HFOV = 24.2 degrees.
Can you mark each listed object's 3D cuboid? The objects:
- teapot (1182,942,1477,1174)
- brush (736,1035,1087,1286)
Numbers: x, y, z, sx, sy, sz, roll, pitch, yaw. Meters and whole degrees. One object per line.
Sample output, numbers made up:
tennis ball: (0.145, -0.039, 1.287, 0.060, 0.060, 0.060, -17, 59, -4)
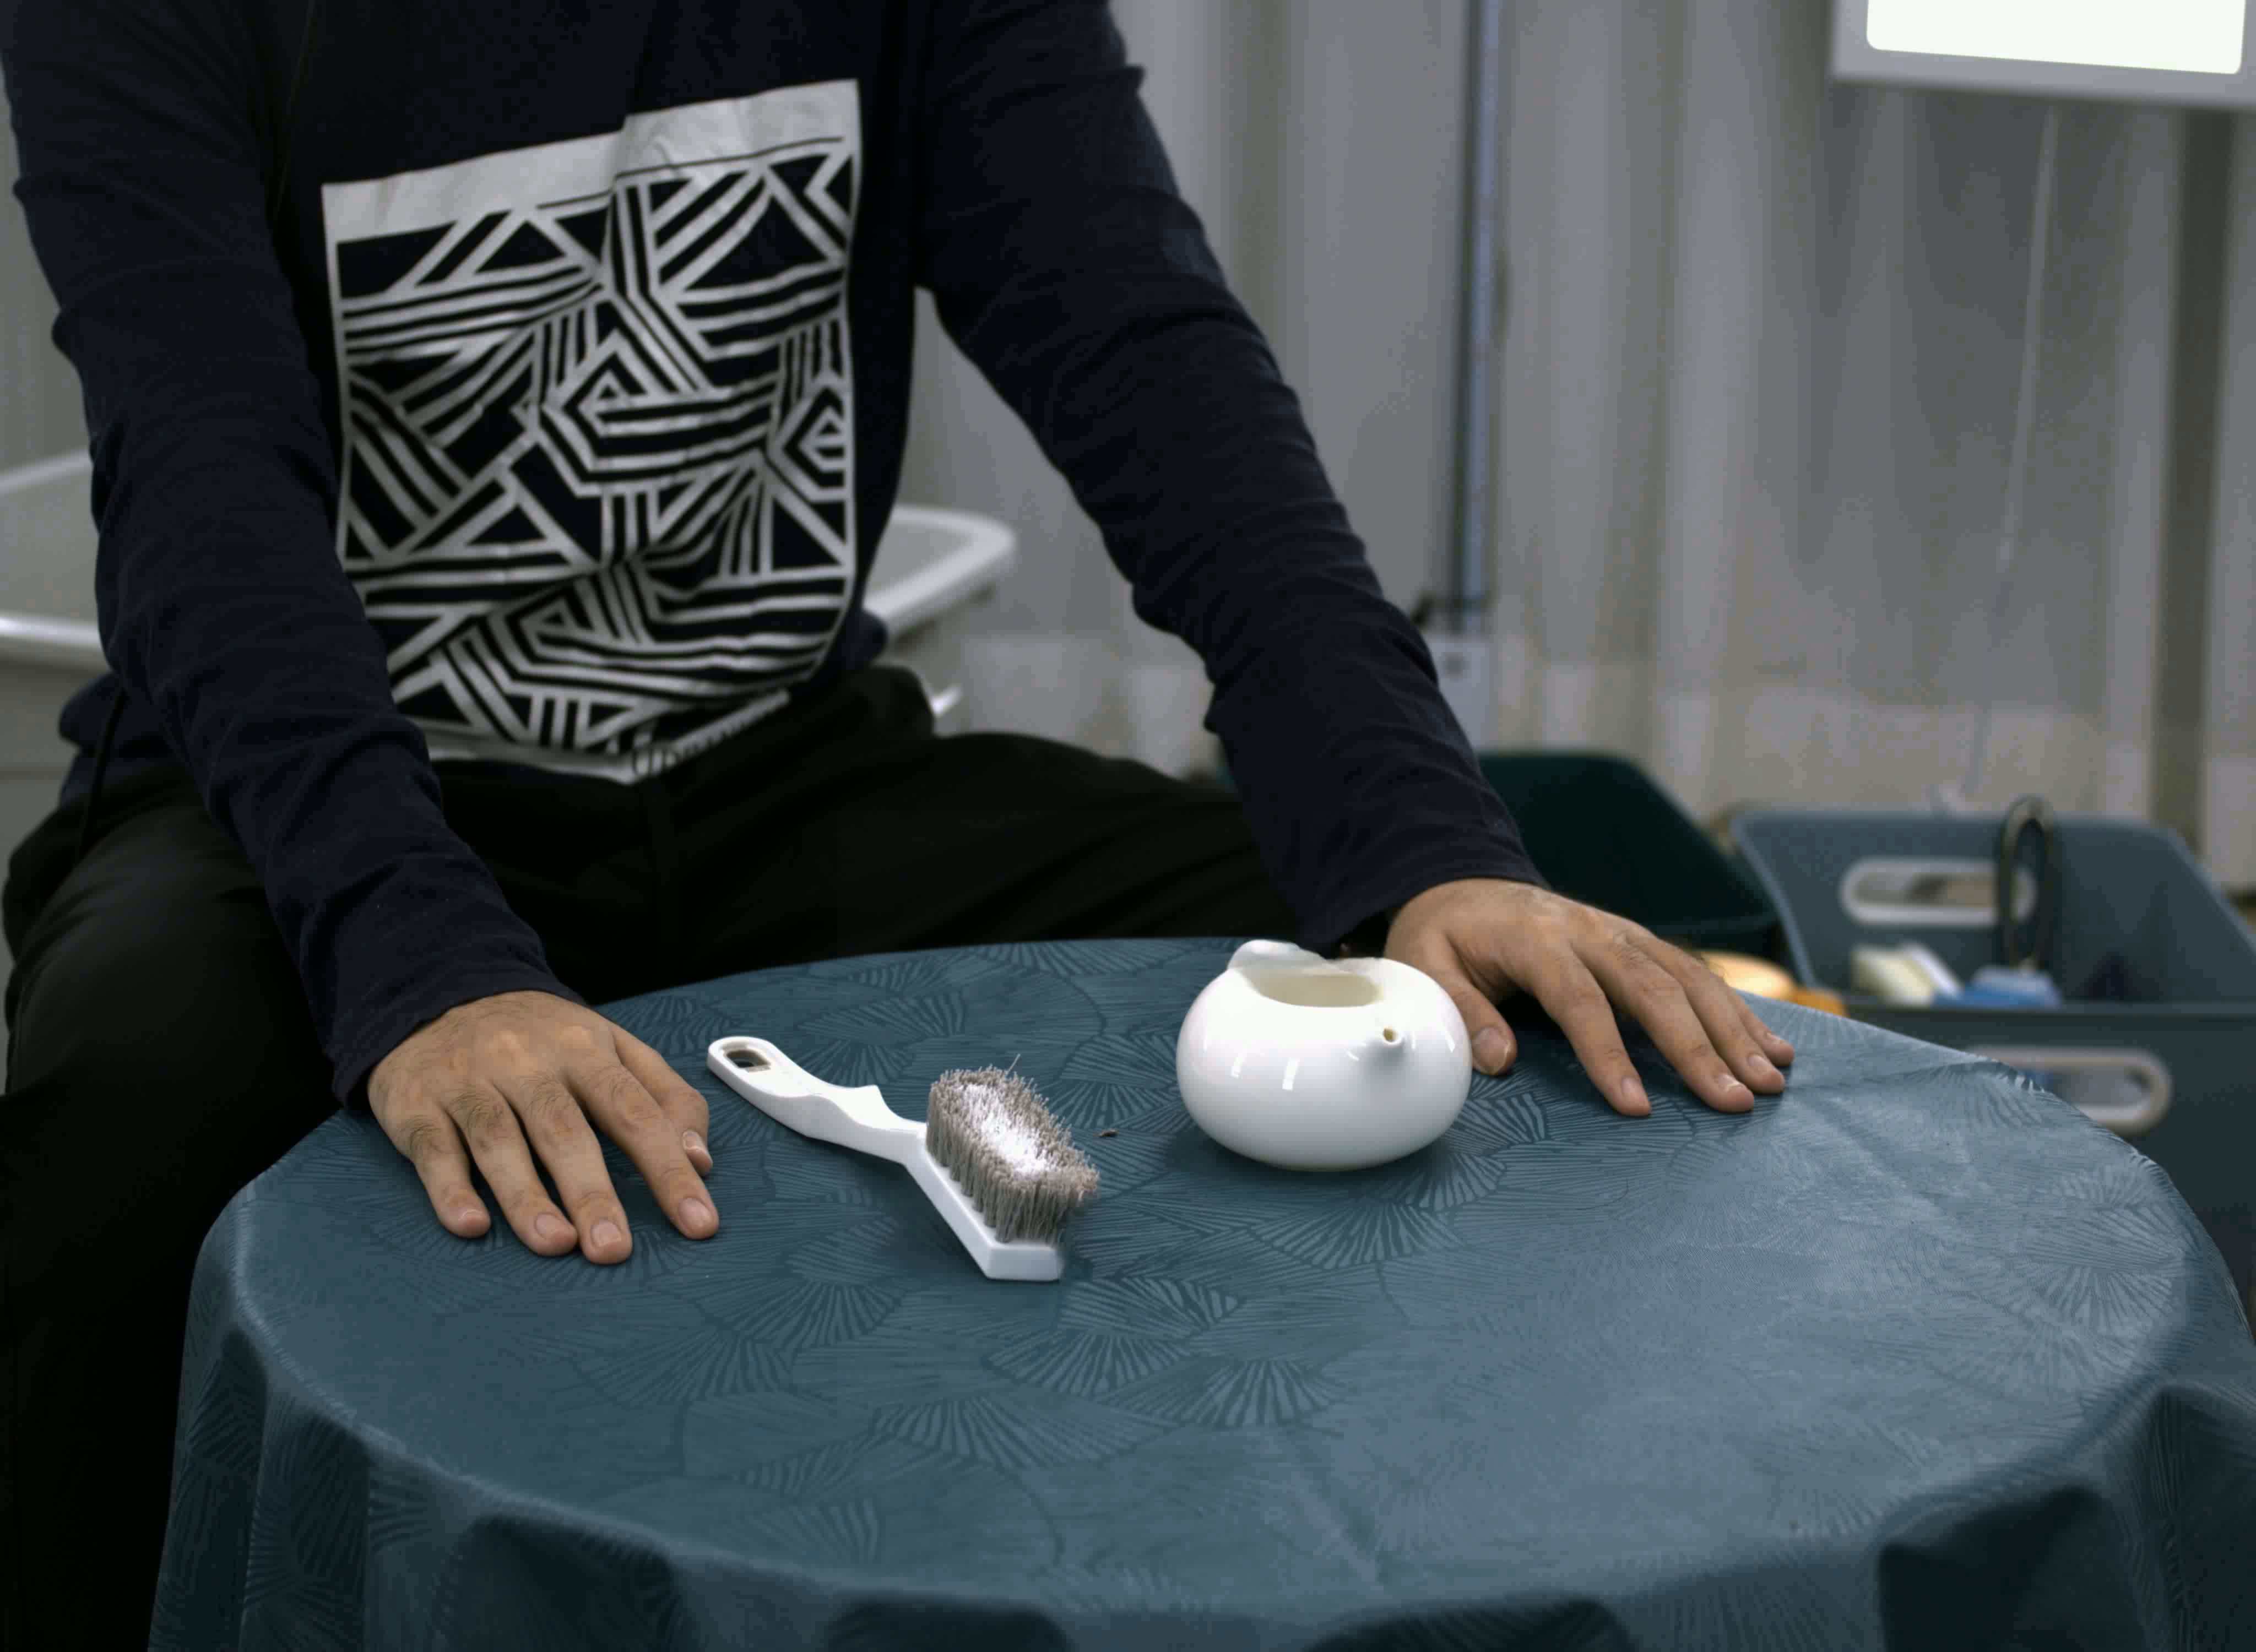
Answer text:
teapot: (0.059, 0.073, 1.673, 0.094, 0.057, 0.126, -12, 18, -25)
brush: (-0.073, 0.084, 1.637, 0.034, 0.050, 0.241, -11, 19, -22)
